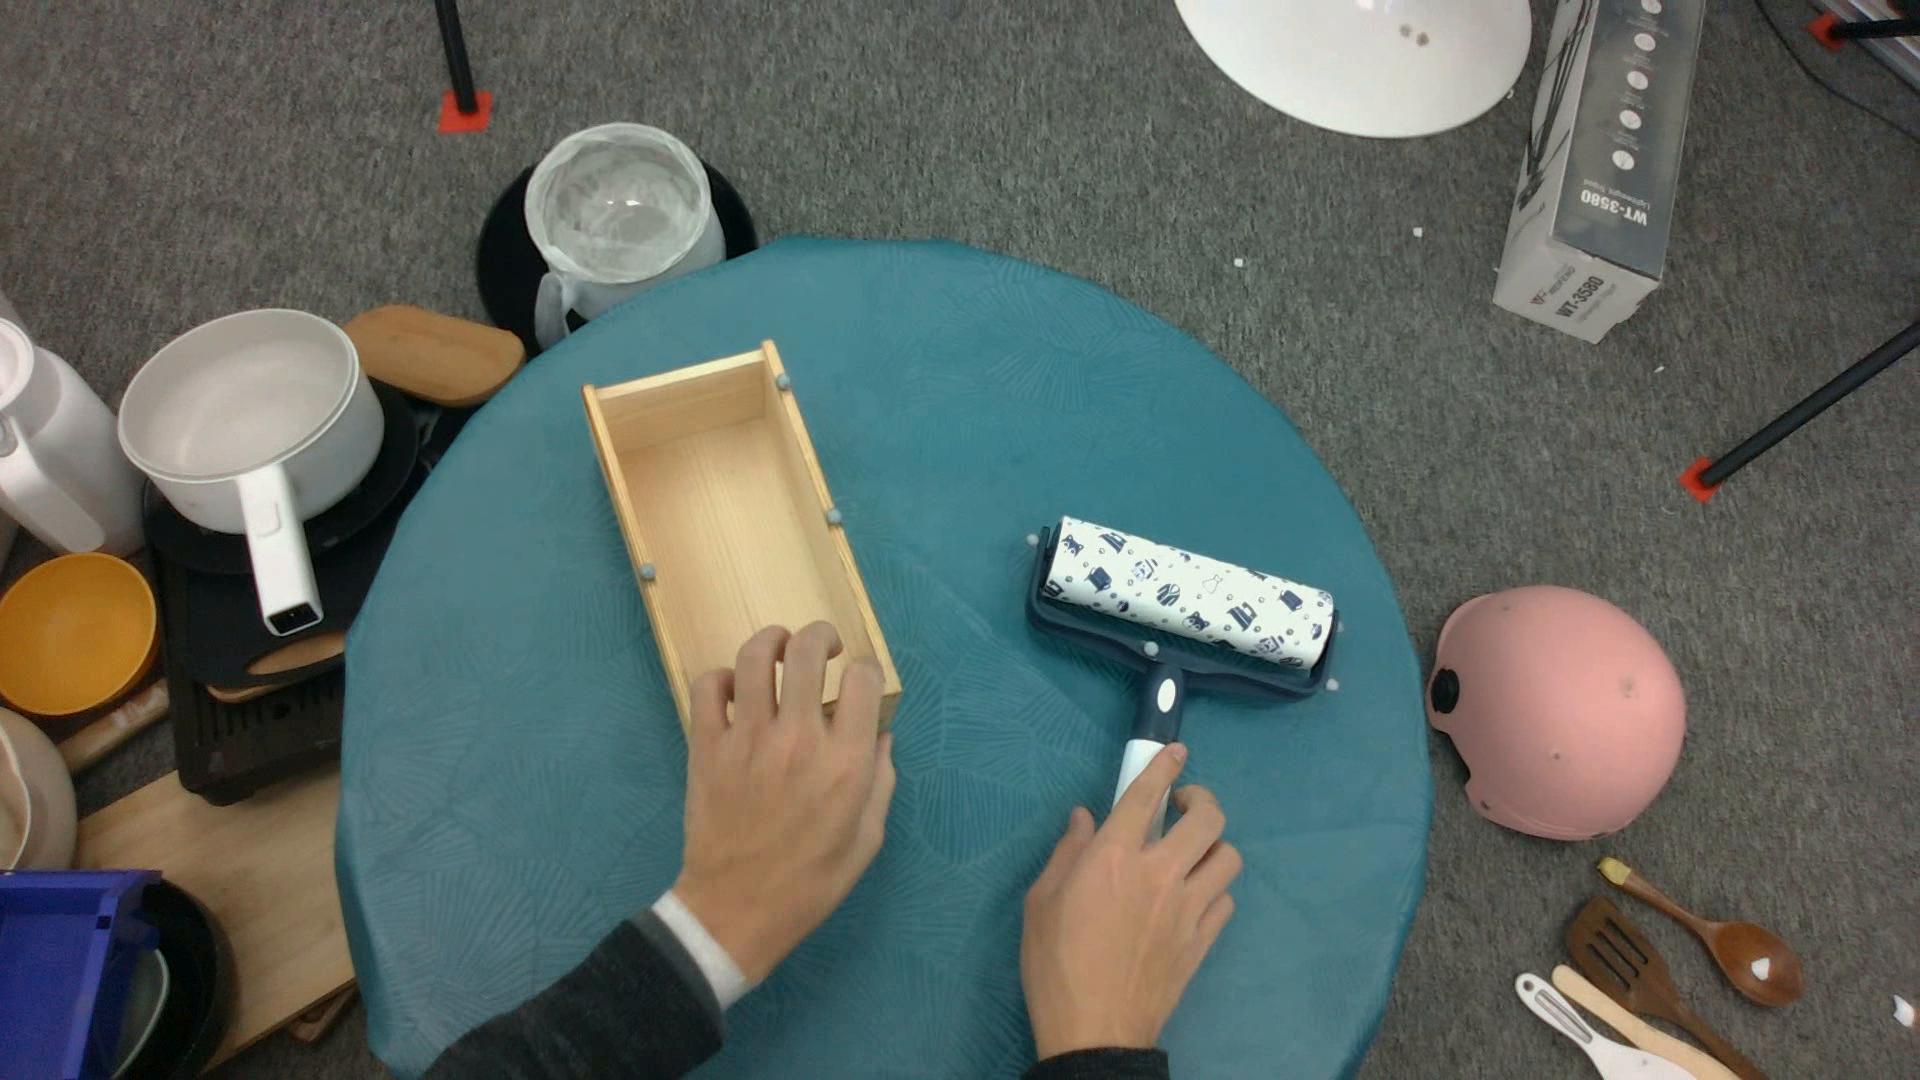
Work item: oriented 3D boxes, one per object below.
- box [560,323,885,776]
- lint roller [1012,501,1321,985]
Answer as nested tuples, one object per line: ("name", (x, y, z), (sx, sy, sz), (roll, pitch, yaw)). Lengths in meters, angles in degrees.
("box", (-0.128, 0.004, 0.737), (0.108, 0.080, 0.212), (-18, 72, -16))
("lint roller", (0.098, 0.112, 0.742), (0.176, 0.050, 0.248), (17, 66, -8))
